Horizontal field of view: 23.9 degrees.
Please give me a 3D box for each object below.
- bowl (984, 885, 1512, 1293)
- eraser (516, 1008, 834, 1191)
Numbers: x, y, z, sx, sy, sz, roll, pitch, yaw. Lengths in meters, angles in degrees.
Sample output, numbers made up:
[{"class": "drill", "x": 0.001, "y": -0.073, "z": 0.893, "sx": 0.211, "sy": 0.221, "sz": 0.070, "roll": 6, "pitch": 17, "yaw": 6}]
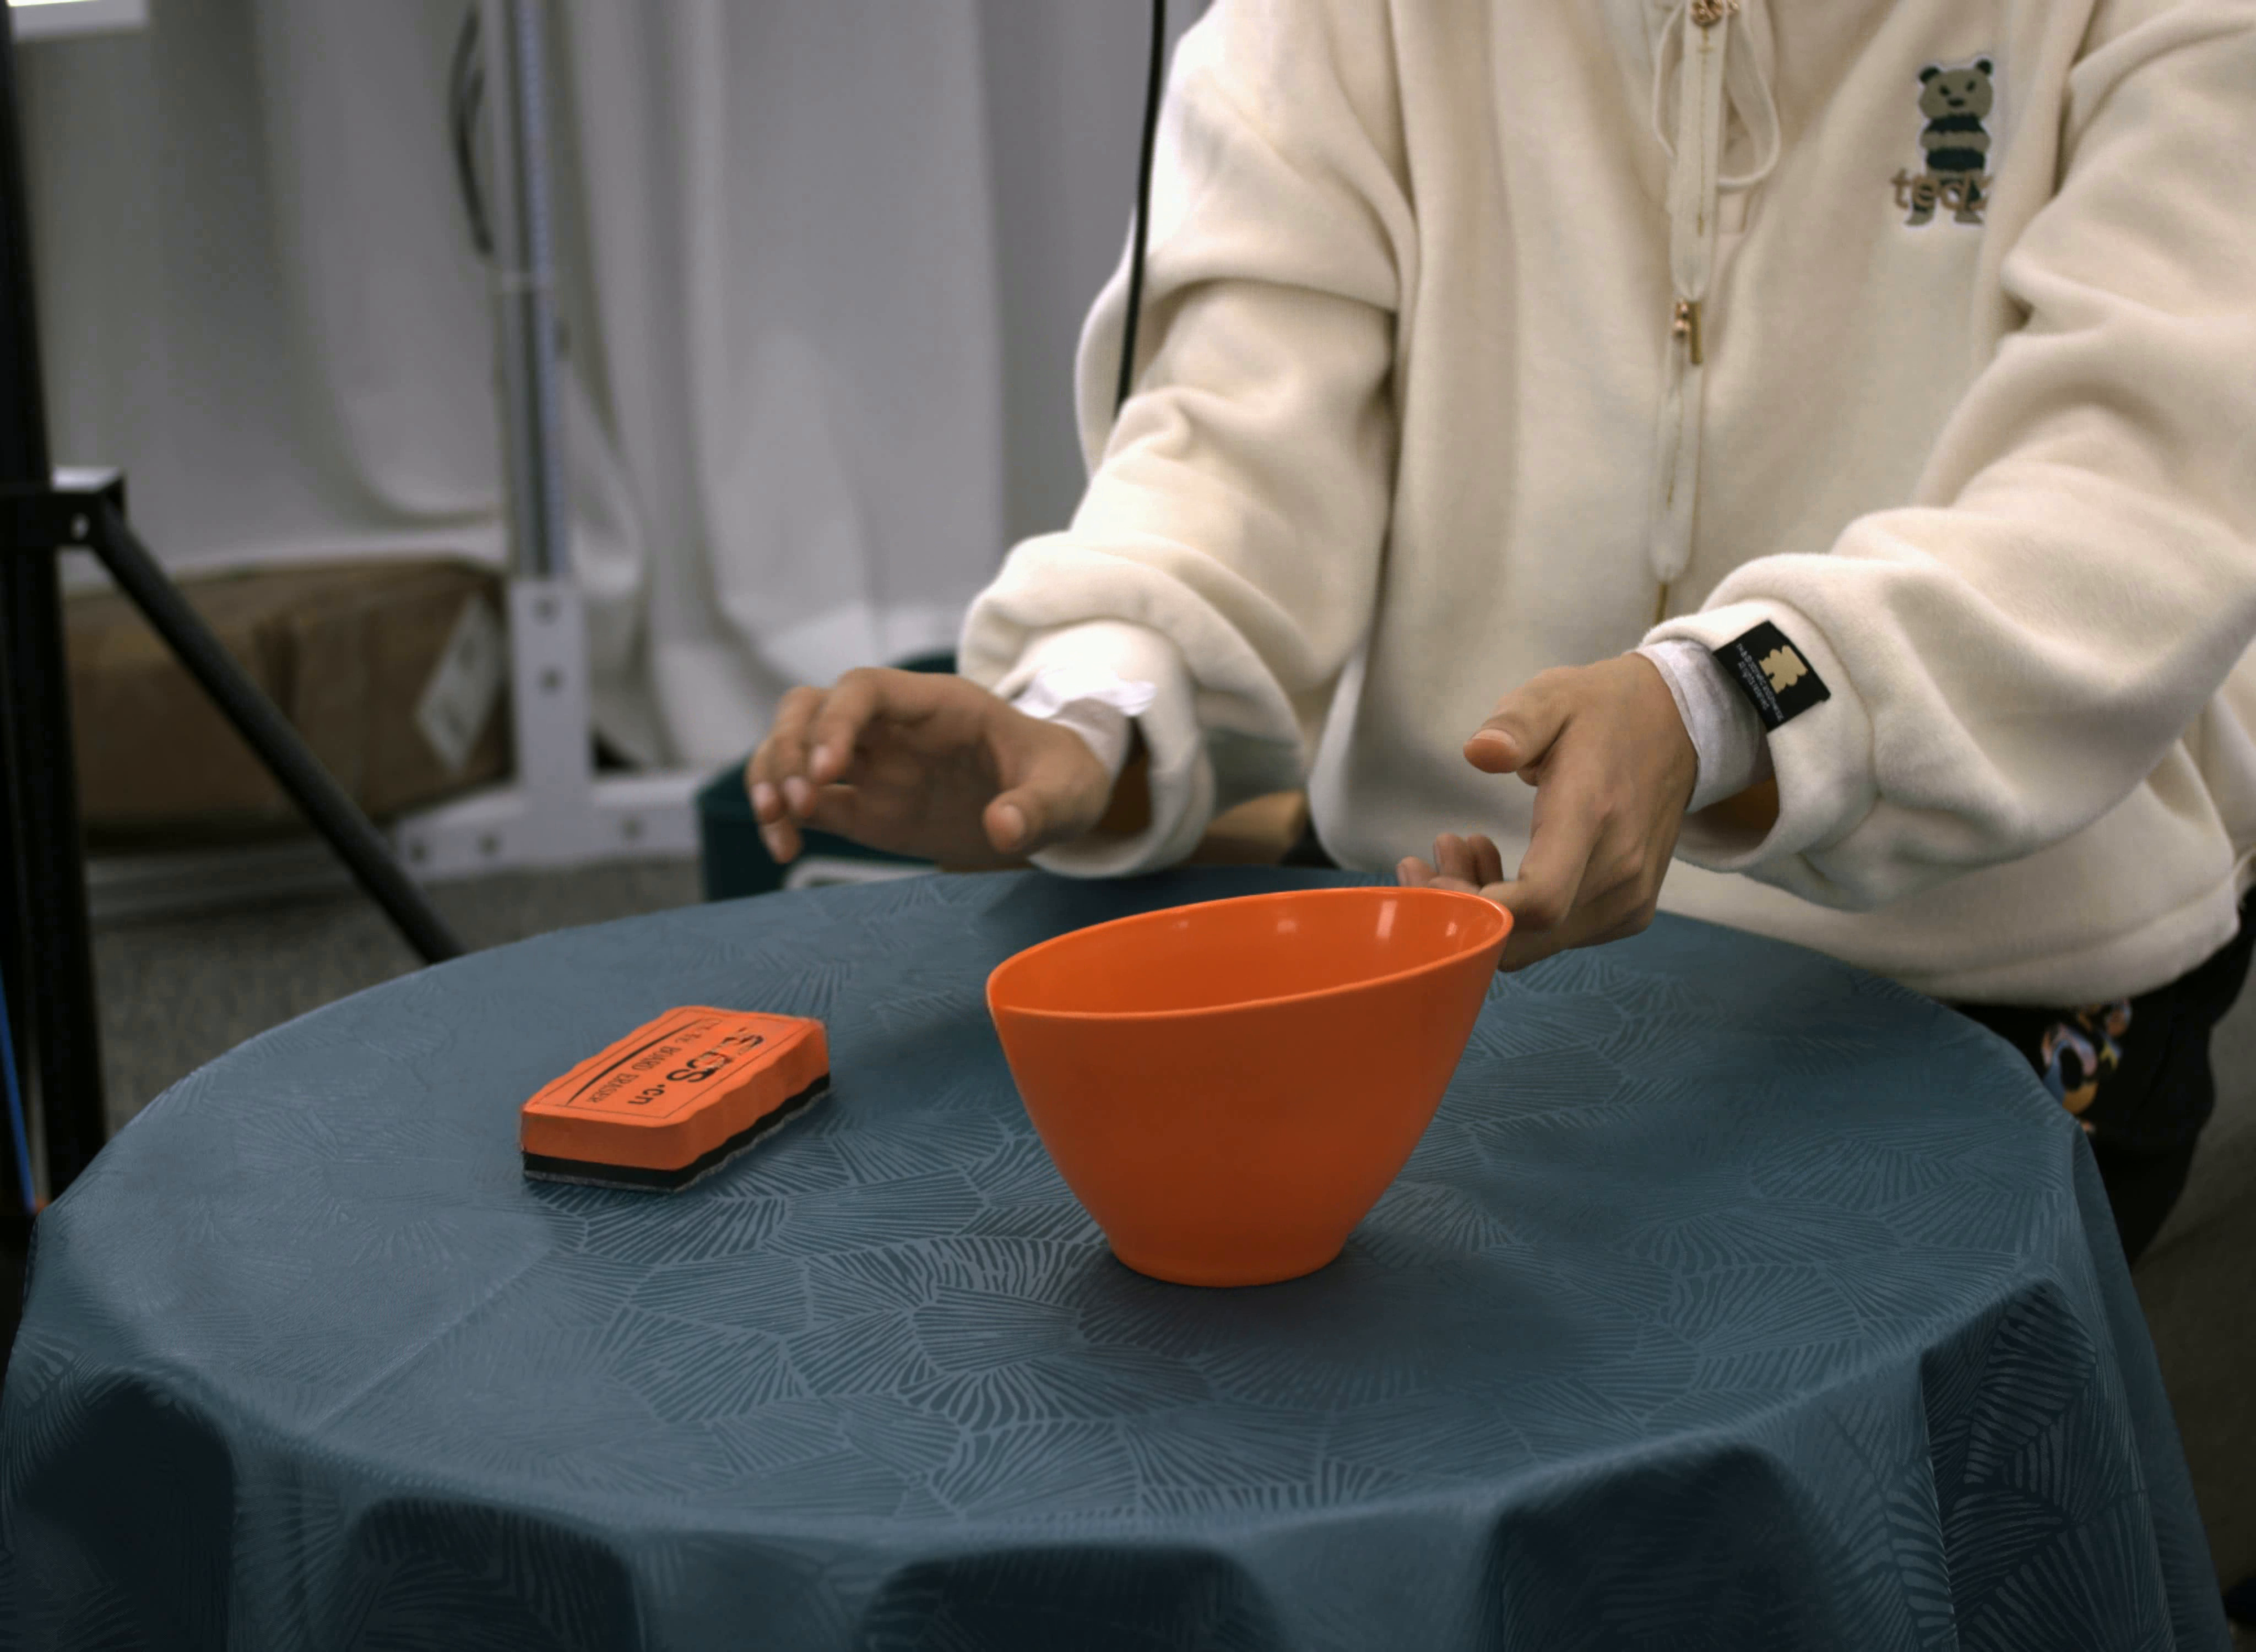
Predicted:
[{"class": "bowl", "x": 0.033, "y": 0.074, "z": 1.484, "sx": 0.147, "sy": 0.104, "sz": 0.149, "roll": -2, "pitch": 18, "yaw": -1}, {"class": "eraser", "x": -0.137, "y": 0.083, "z": 1.627, "sx": 0.060, "sy": 0.023, "sz": 0.106, "roll": 3, "pitch": 16, "yaw": 26}]
